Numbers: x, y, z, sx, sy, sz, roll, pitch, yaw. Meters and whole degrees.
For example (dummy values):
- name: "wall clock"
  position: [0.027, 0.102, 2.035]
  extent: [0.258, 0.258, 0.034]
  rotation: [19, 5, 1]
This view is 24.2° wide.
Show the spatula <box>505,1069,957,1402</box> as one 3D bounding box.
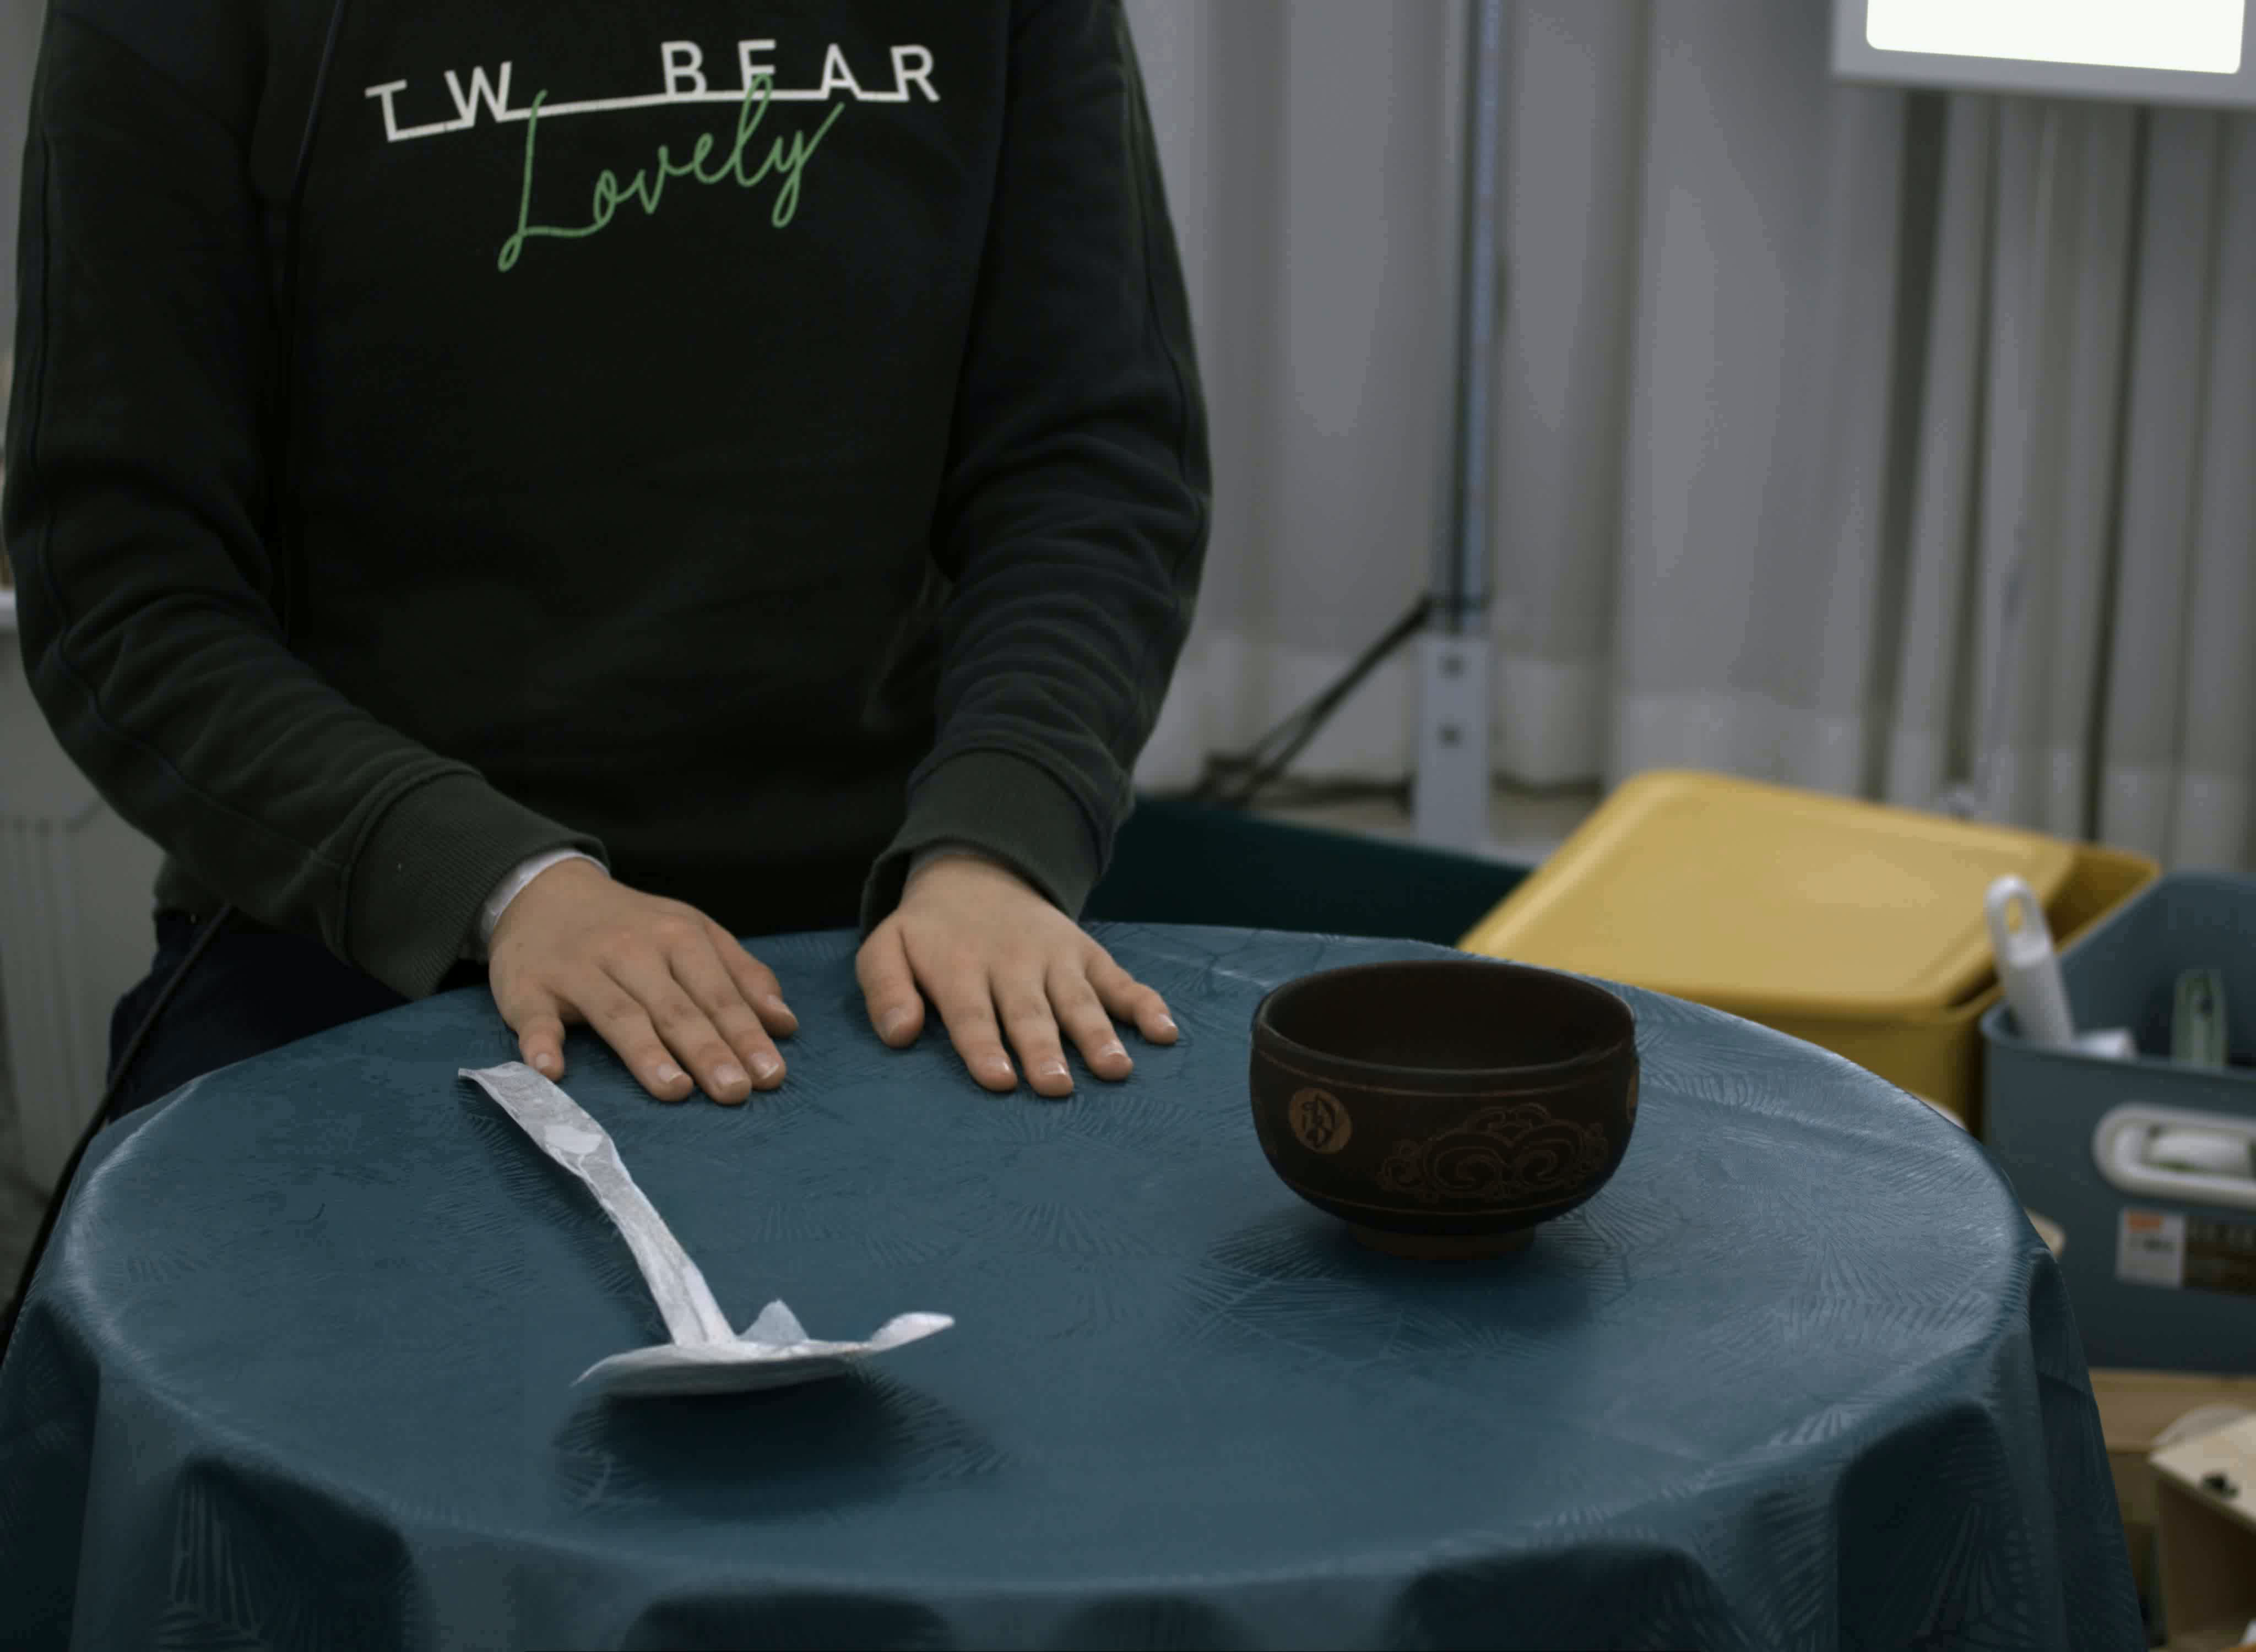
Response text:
- name: "spatula"
  position: [-0.142, 0.111, 1.555]
  extent: [0.099, 0.045, 0.361]
  rotation: [-7, 17, -18]

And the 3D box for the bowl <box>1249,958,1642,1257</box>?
- name: "bowl"
  position: [0.095, 0.088, 1.585]
  extent: [0.117, 0.070, 0.117]
  rotation: [2, 15, 0]
